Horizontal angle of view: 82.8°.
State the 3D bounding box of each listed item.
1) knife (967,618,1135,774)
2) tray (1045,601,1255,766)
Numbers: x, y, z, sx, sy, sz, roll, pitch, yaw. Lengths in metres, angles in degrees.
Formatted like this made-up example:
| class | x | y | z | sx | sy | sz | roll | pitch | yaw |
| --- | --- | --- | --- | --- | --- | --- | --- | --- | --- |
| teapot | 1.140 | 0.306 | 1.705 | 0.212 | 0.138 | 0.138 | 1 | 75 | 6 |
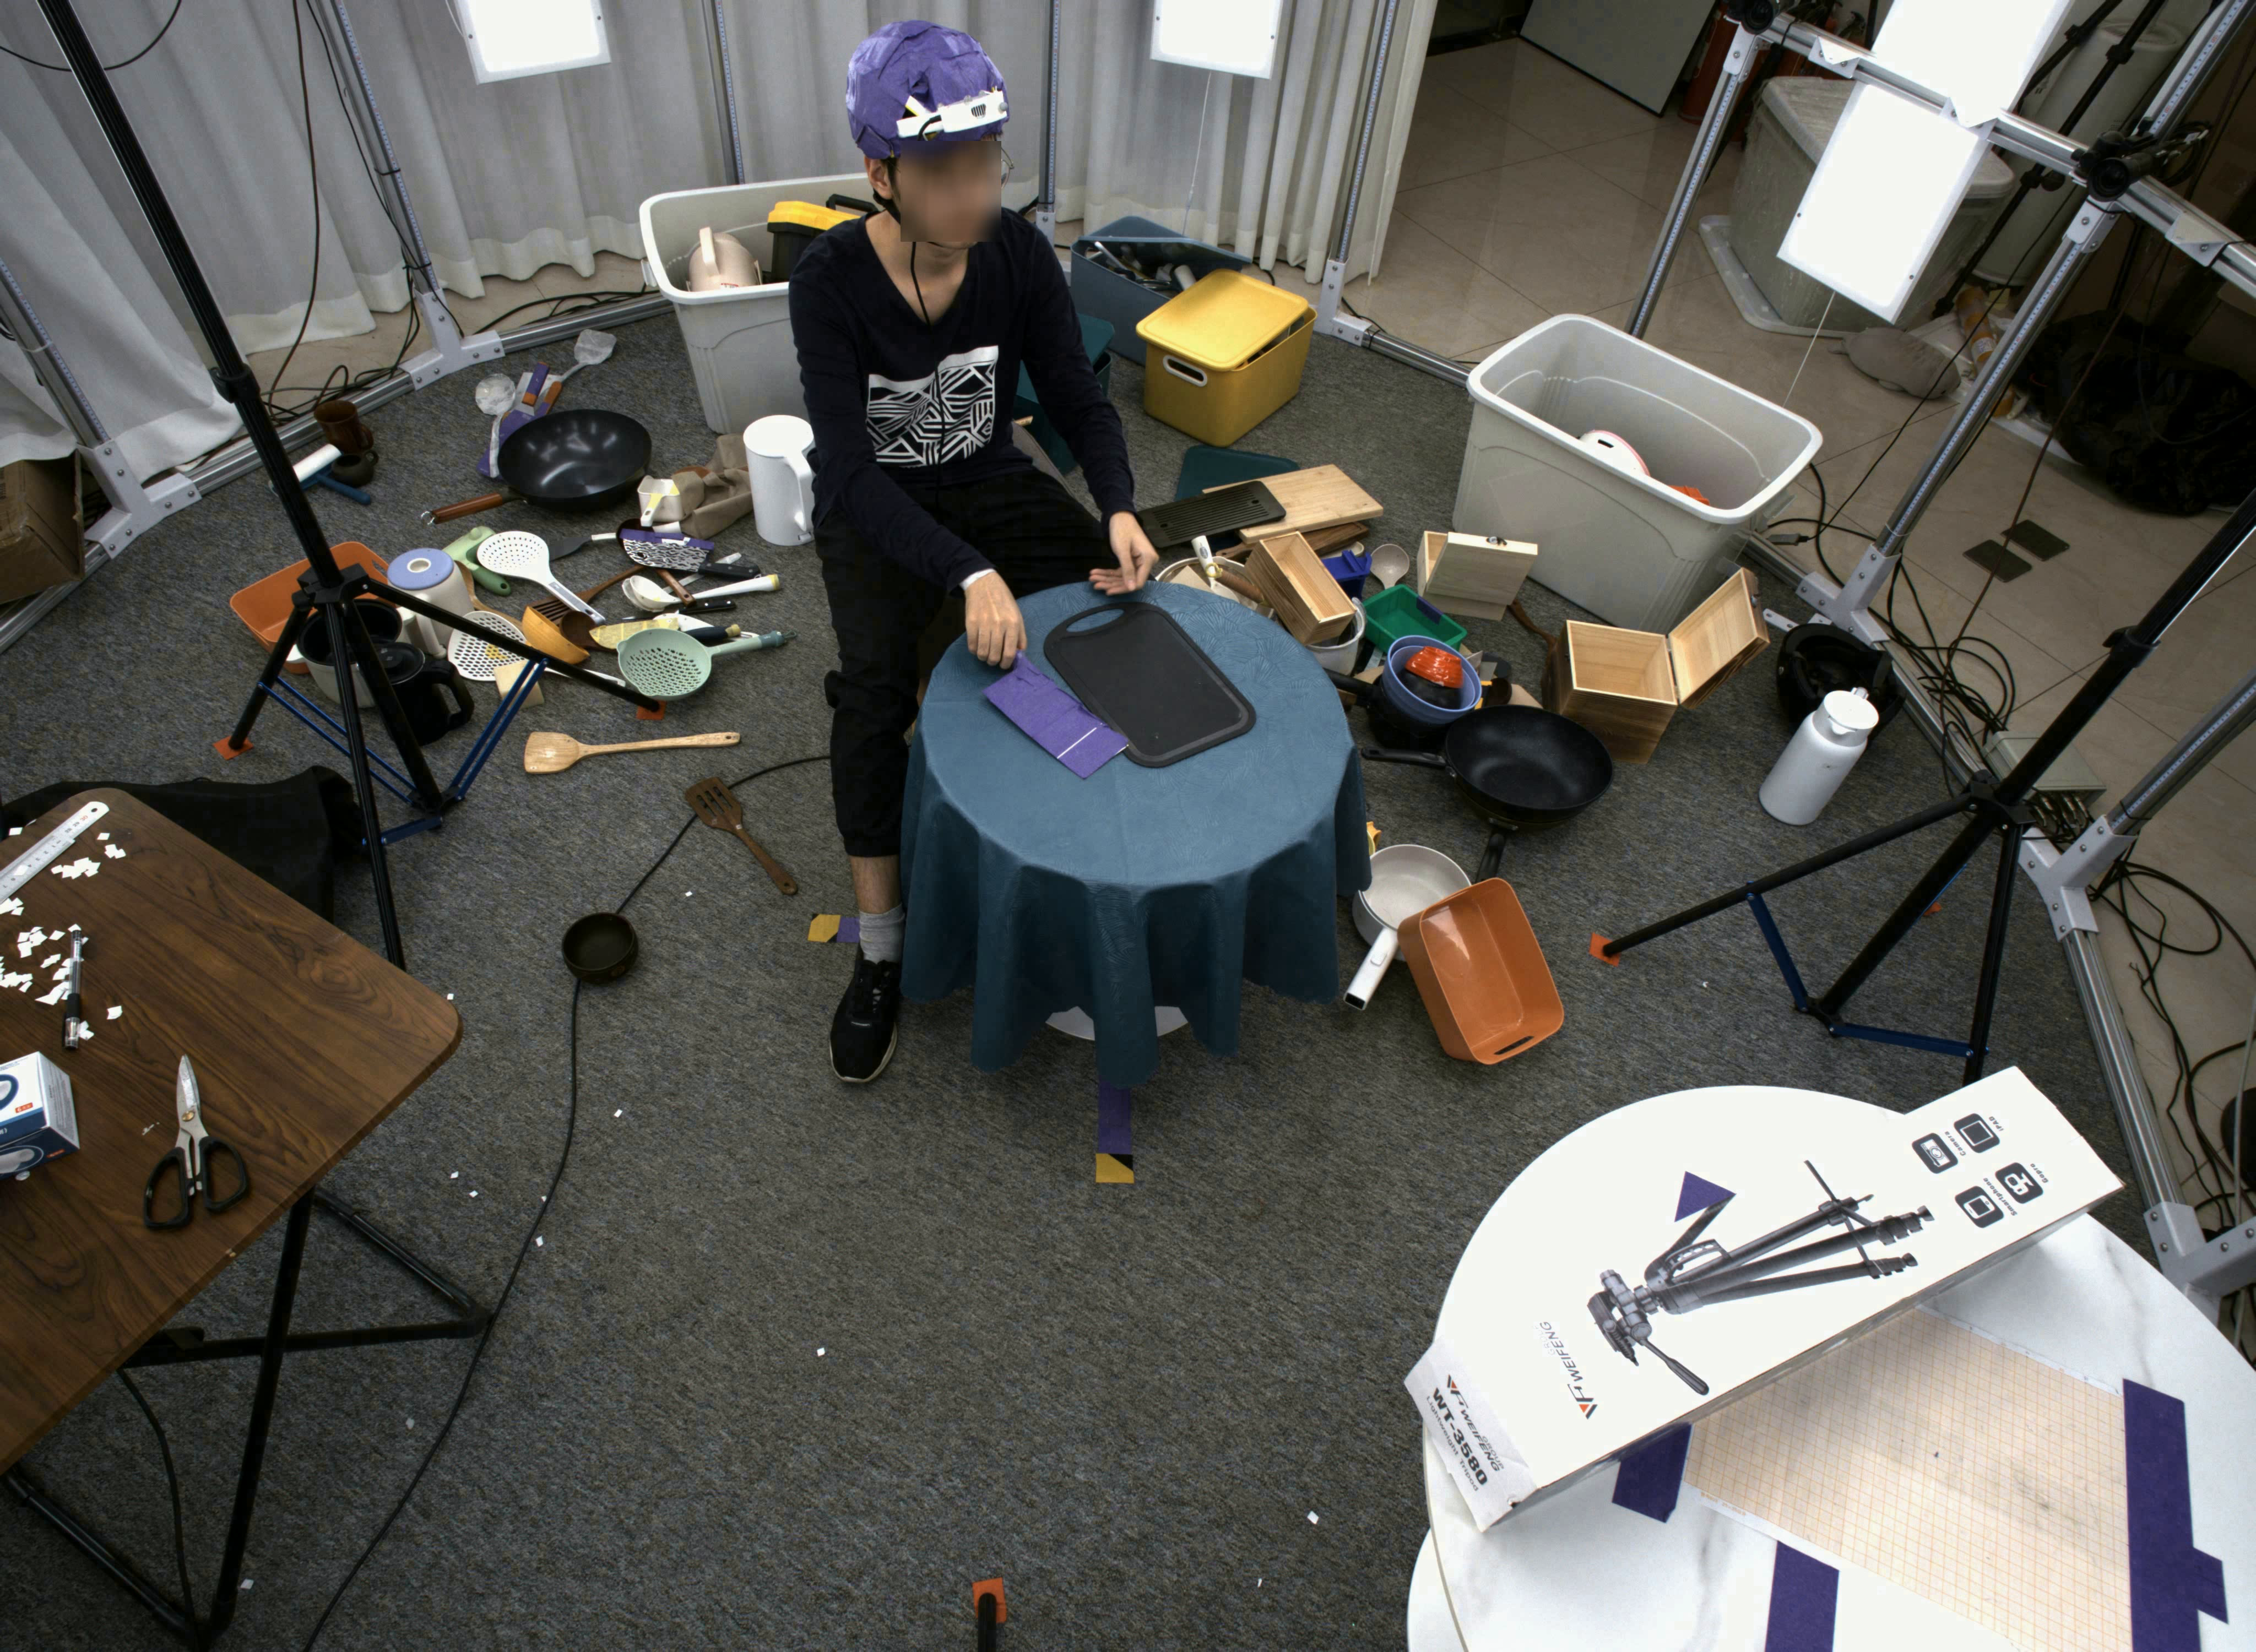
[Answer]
| class | x | y | z | sx | sy | sz | roll | pitch | yaw |
| --- | --- | --- | --- | --- | --- | --- | --- | --- | --- |
| knife | -0.135 | -0.185 | 1.797 | 0.105 | 0.031 | 0.320 | -37 | 61 | -28 |
| tray | 0.024 | -0.217 | 1.853 | 0.212 | 0.009 | 0.332 | -22 | 54 | -22 |
